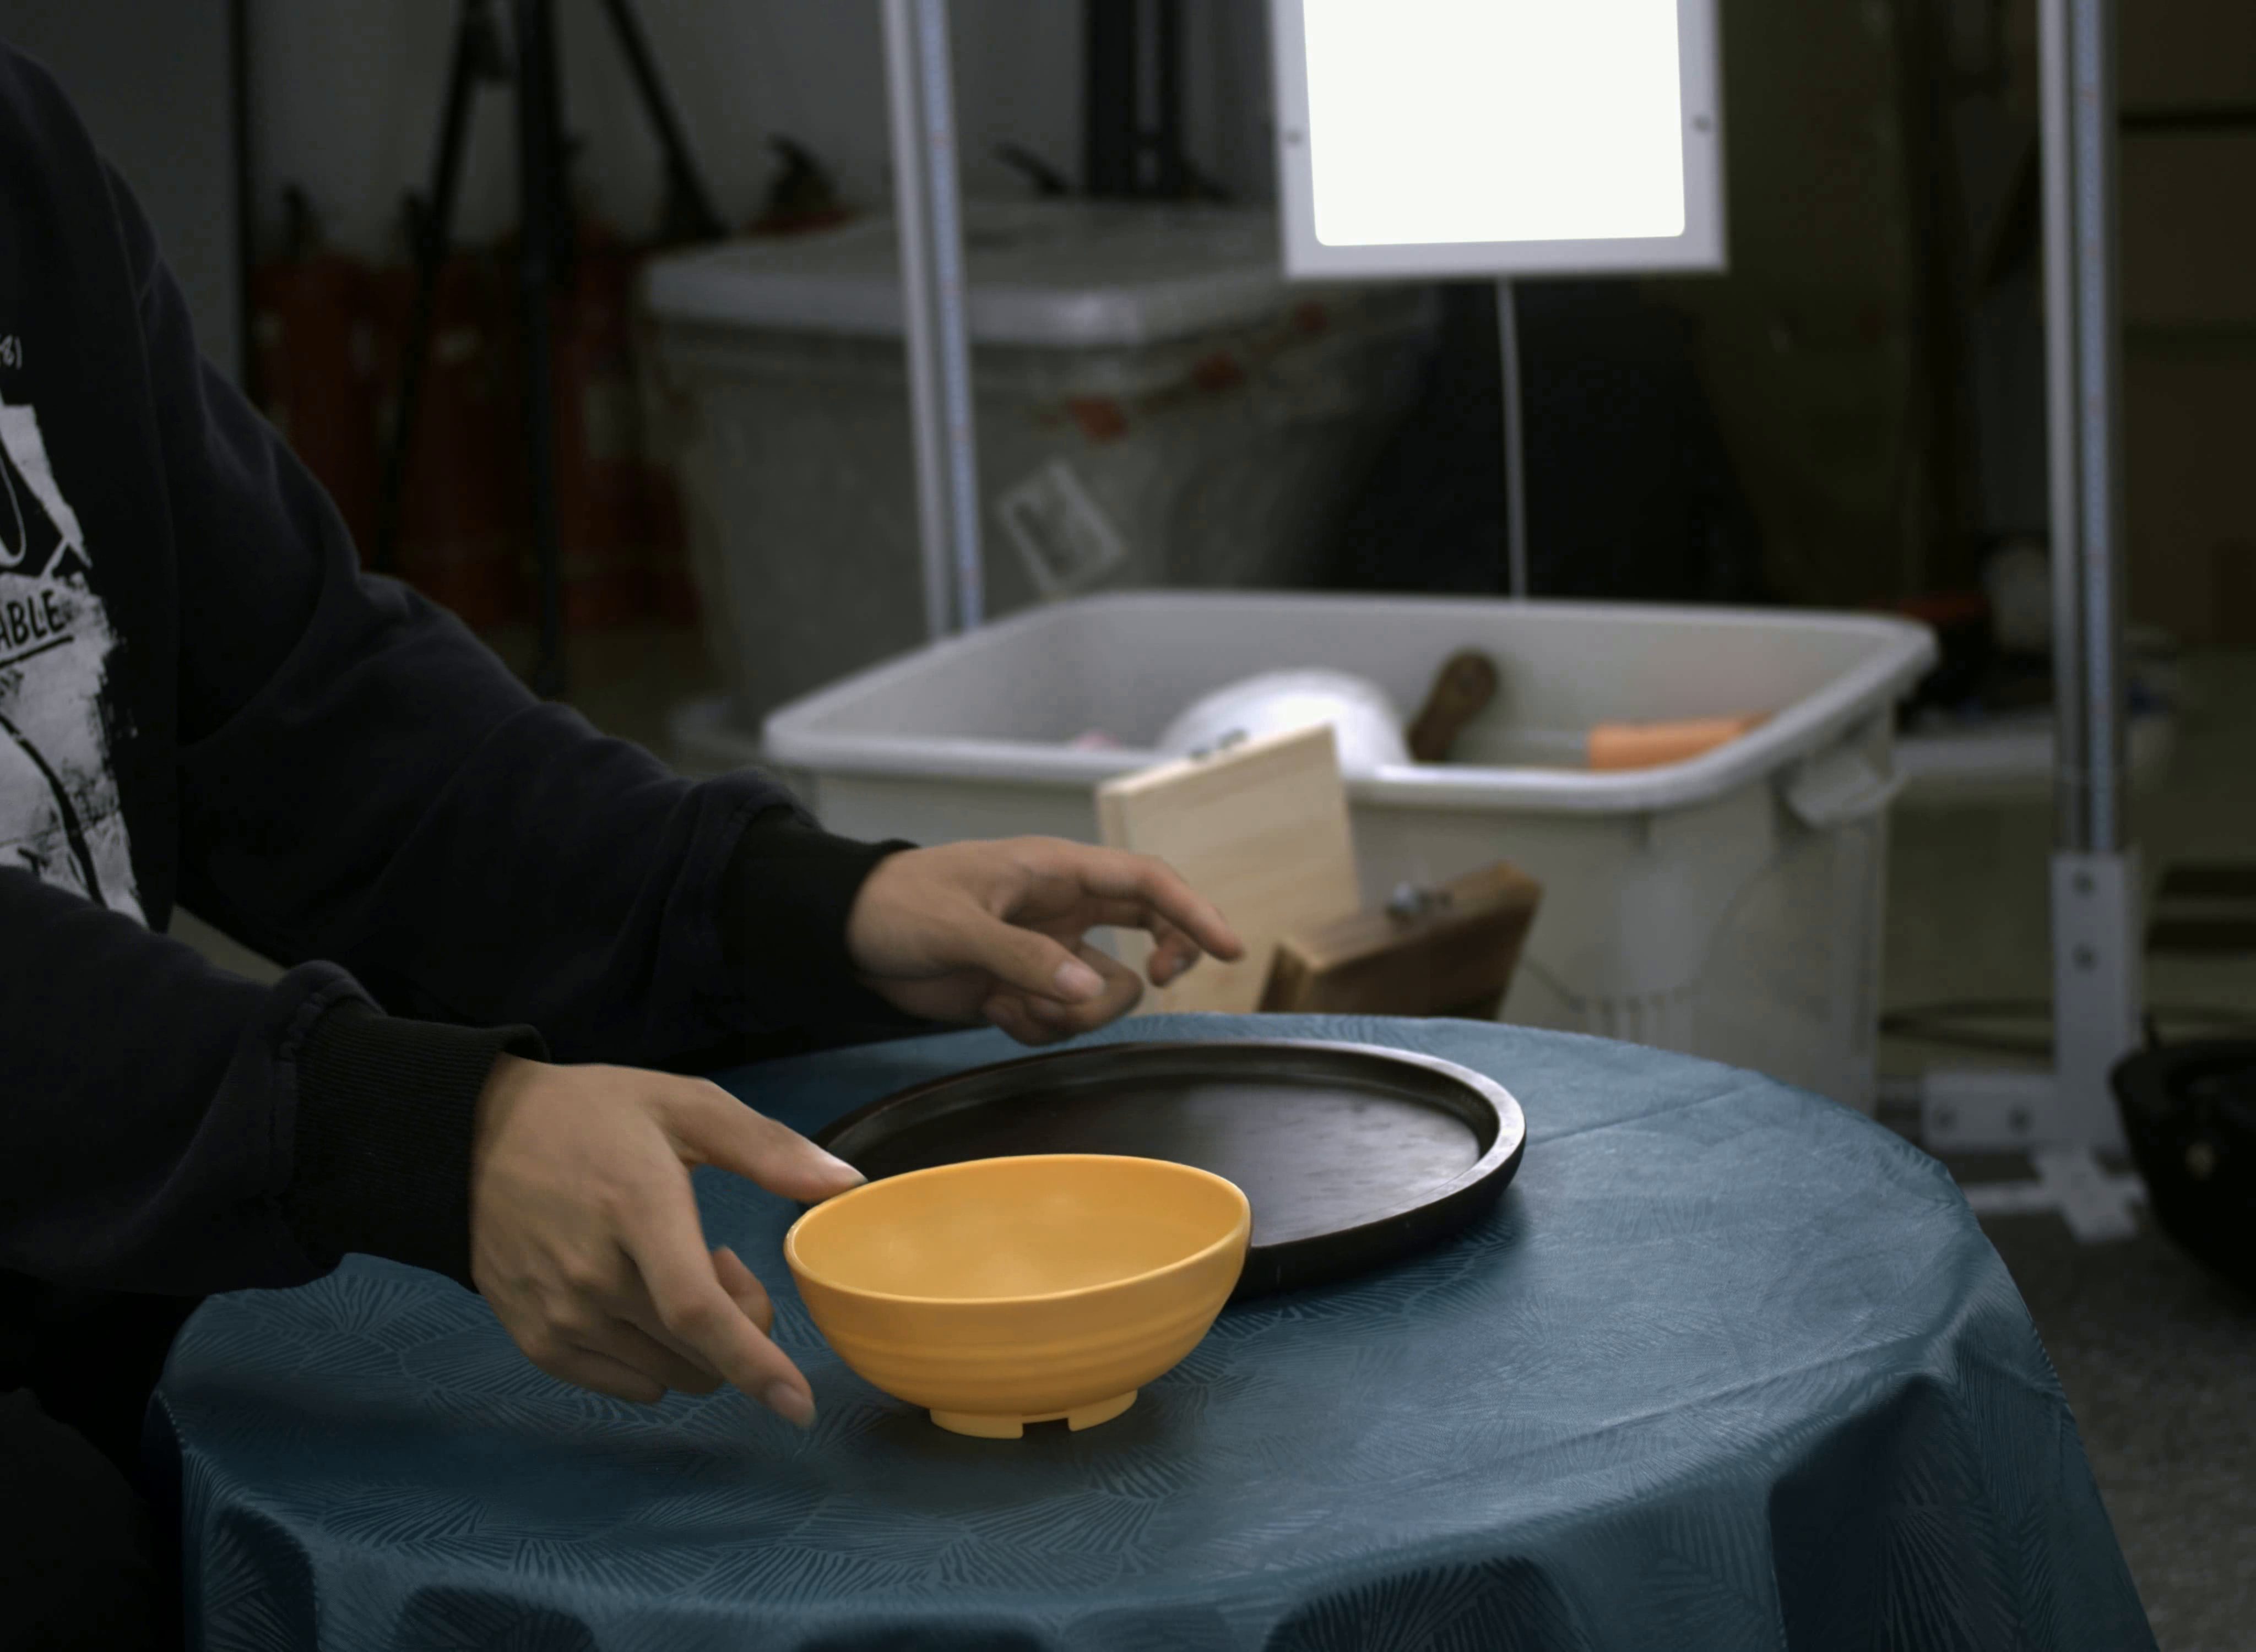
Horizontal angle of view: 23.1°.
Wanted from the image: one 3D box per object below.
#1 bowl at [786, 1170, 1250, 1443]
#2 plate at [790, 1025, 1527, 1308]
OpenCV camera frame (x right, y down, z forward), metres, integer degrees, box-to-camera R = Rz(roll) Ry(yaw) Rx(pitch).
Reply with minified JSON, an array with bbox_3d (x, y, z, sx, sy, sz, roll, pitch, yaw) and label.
[{"bbox_3d":[-0.031,0.151,1.691,0.145,0.060,0.145,-6,11,0],"label":"bowl"},{"bbox_3d":[0.011,0.117,1.882,0.254,0.029,0.254,-6,14,0],"label":"plate"}]
